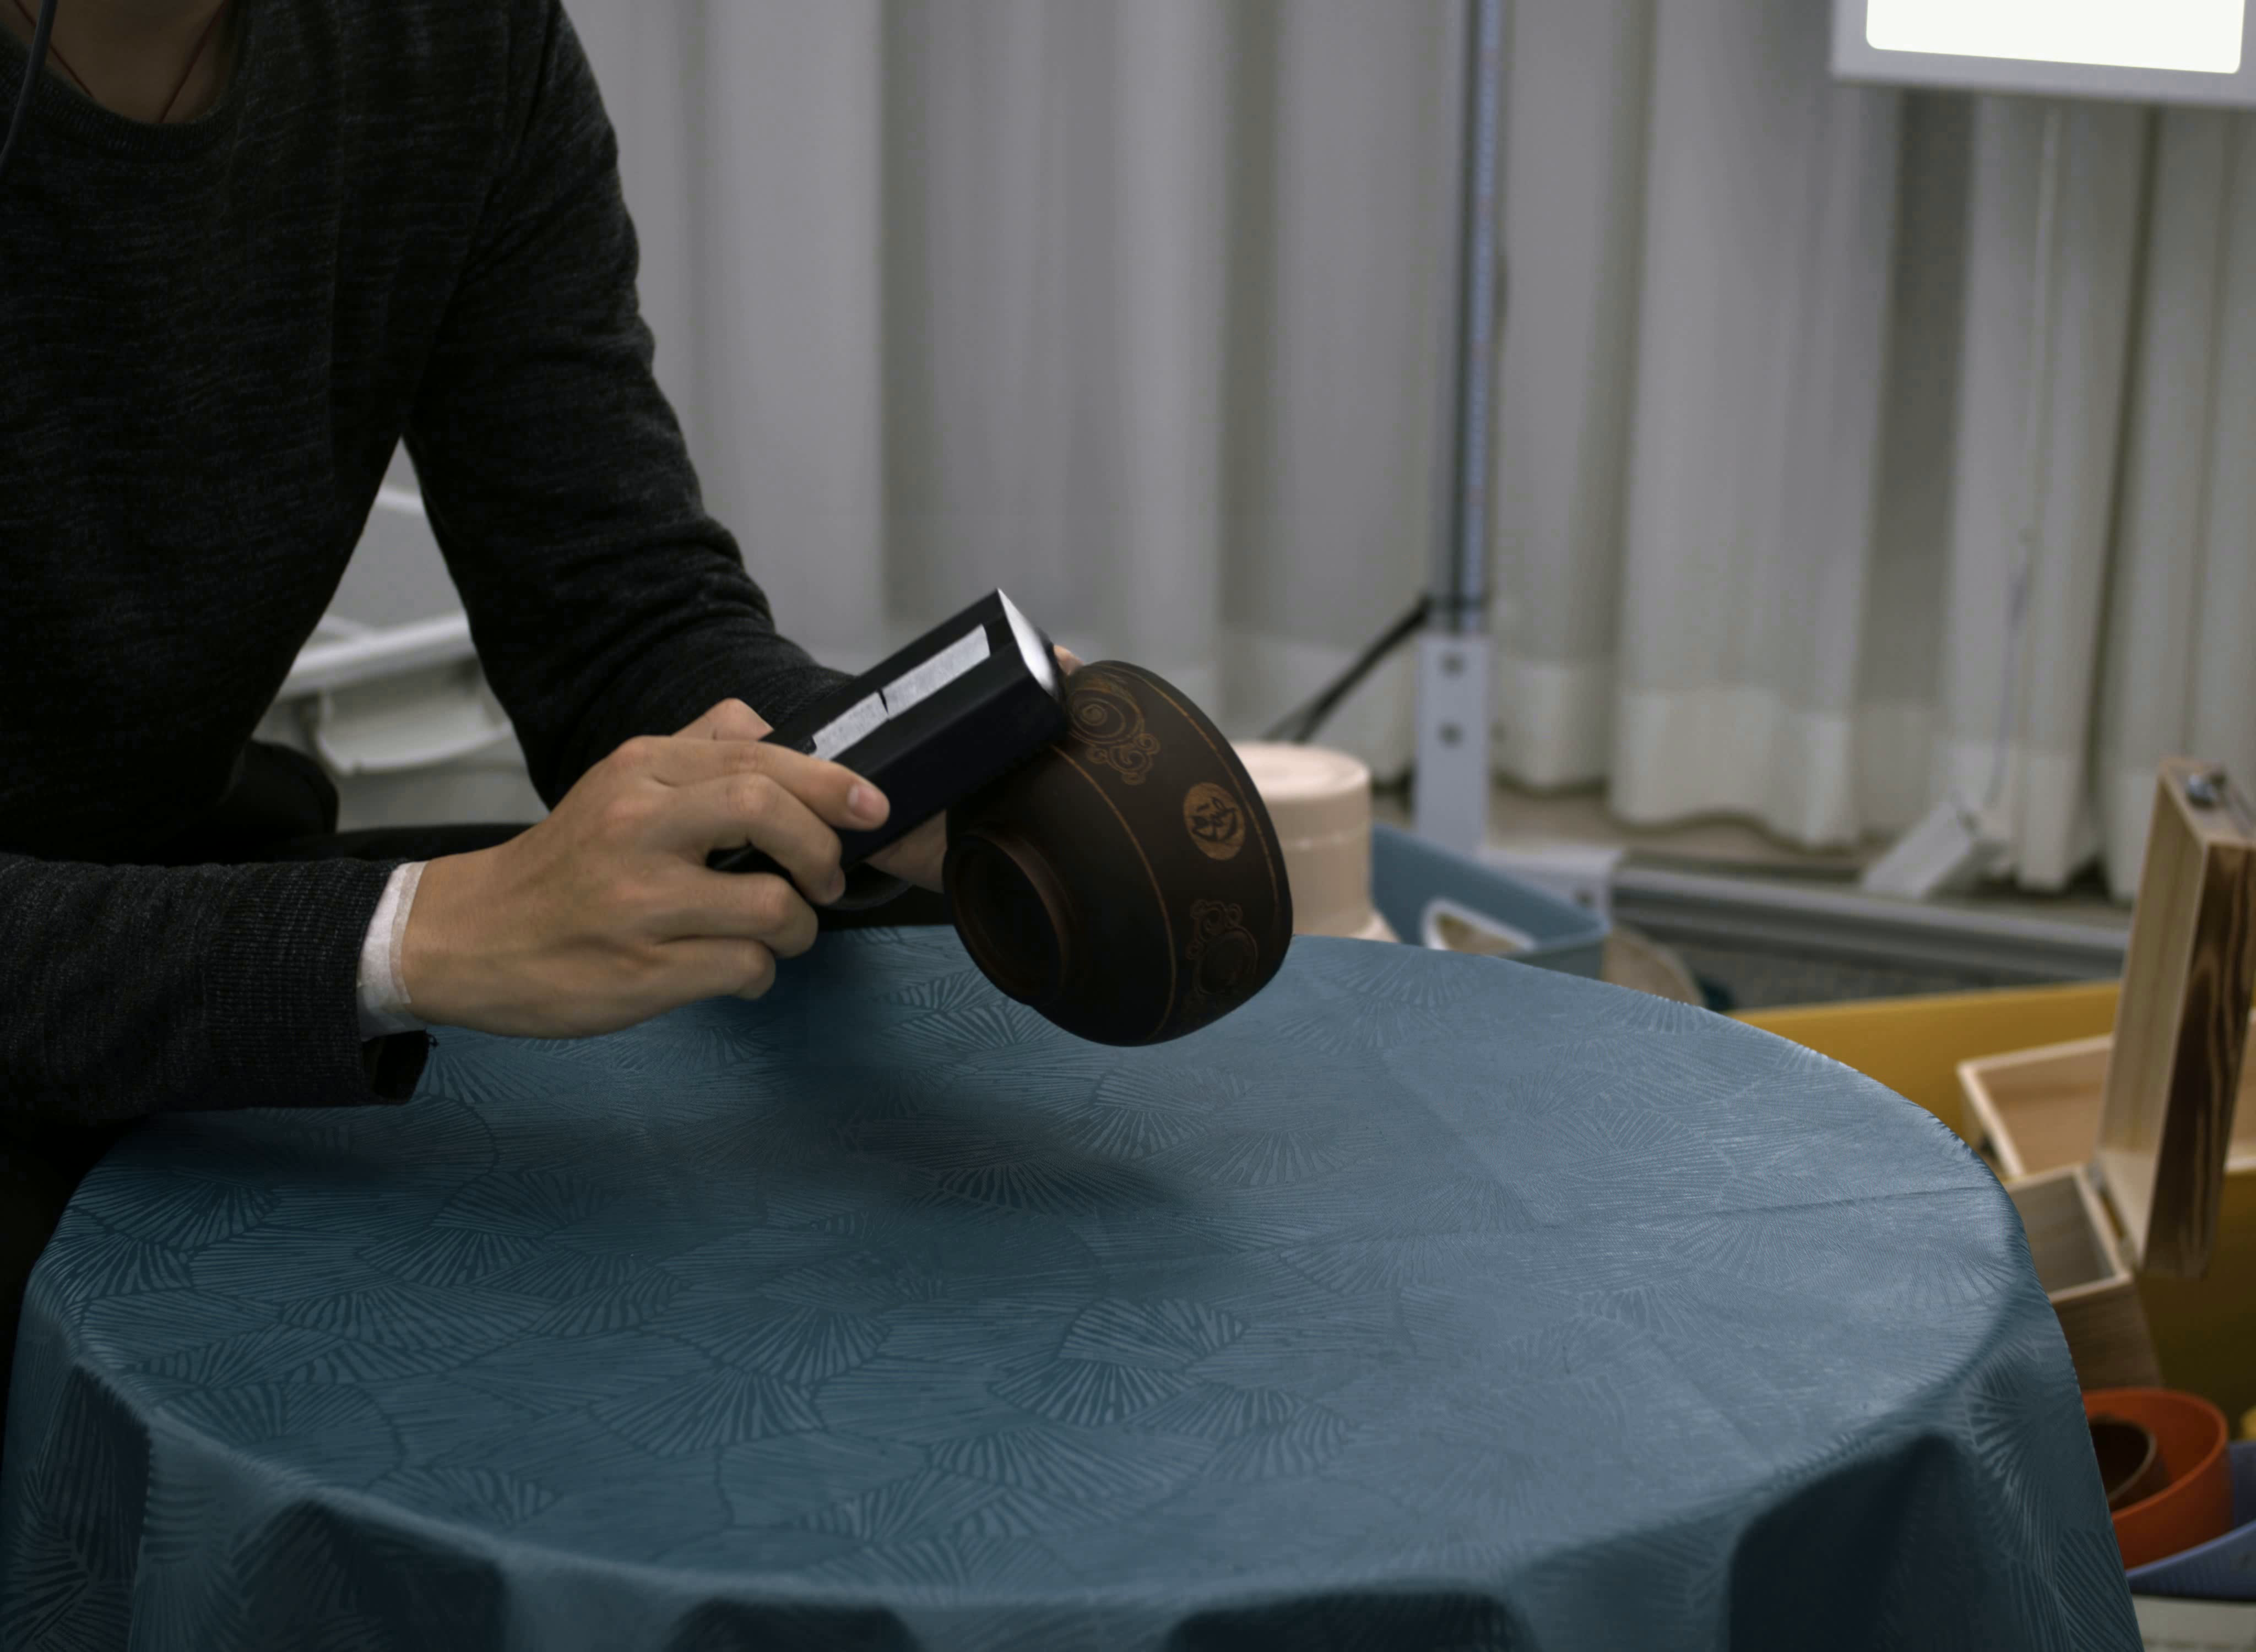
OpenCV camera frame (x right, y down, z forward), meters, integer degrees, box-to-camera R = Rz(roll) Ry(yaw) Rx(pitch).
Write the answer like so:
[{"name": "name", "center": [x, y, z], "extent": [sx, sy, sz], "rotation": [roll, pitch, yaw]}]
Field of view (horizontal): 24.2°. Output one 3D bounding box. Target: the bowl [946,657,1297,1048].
[{"name": "bowl", "center": [-0.011, 0.015, 1.600], "extent": [0.070, 0.119, 0.116], "rotation": [-29, 31, -32]}]

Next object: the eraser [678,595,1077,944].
[{"name": "eraser", "center": [-0.075, -0.018, 1.574], "extent": [0.125, 0.031, 0.053], "rotation": [-33, 32, 7]}]
